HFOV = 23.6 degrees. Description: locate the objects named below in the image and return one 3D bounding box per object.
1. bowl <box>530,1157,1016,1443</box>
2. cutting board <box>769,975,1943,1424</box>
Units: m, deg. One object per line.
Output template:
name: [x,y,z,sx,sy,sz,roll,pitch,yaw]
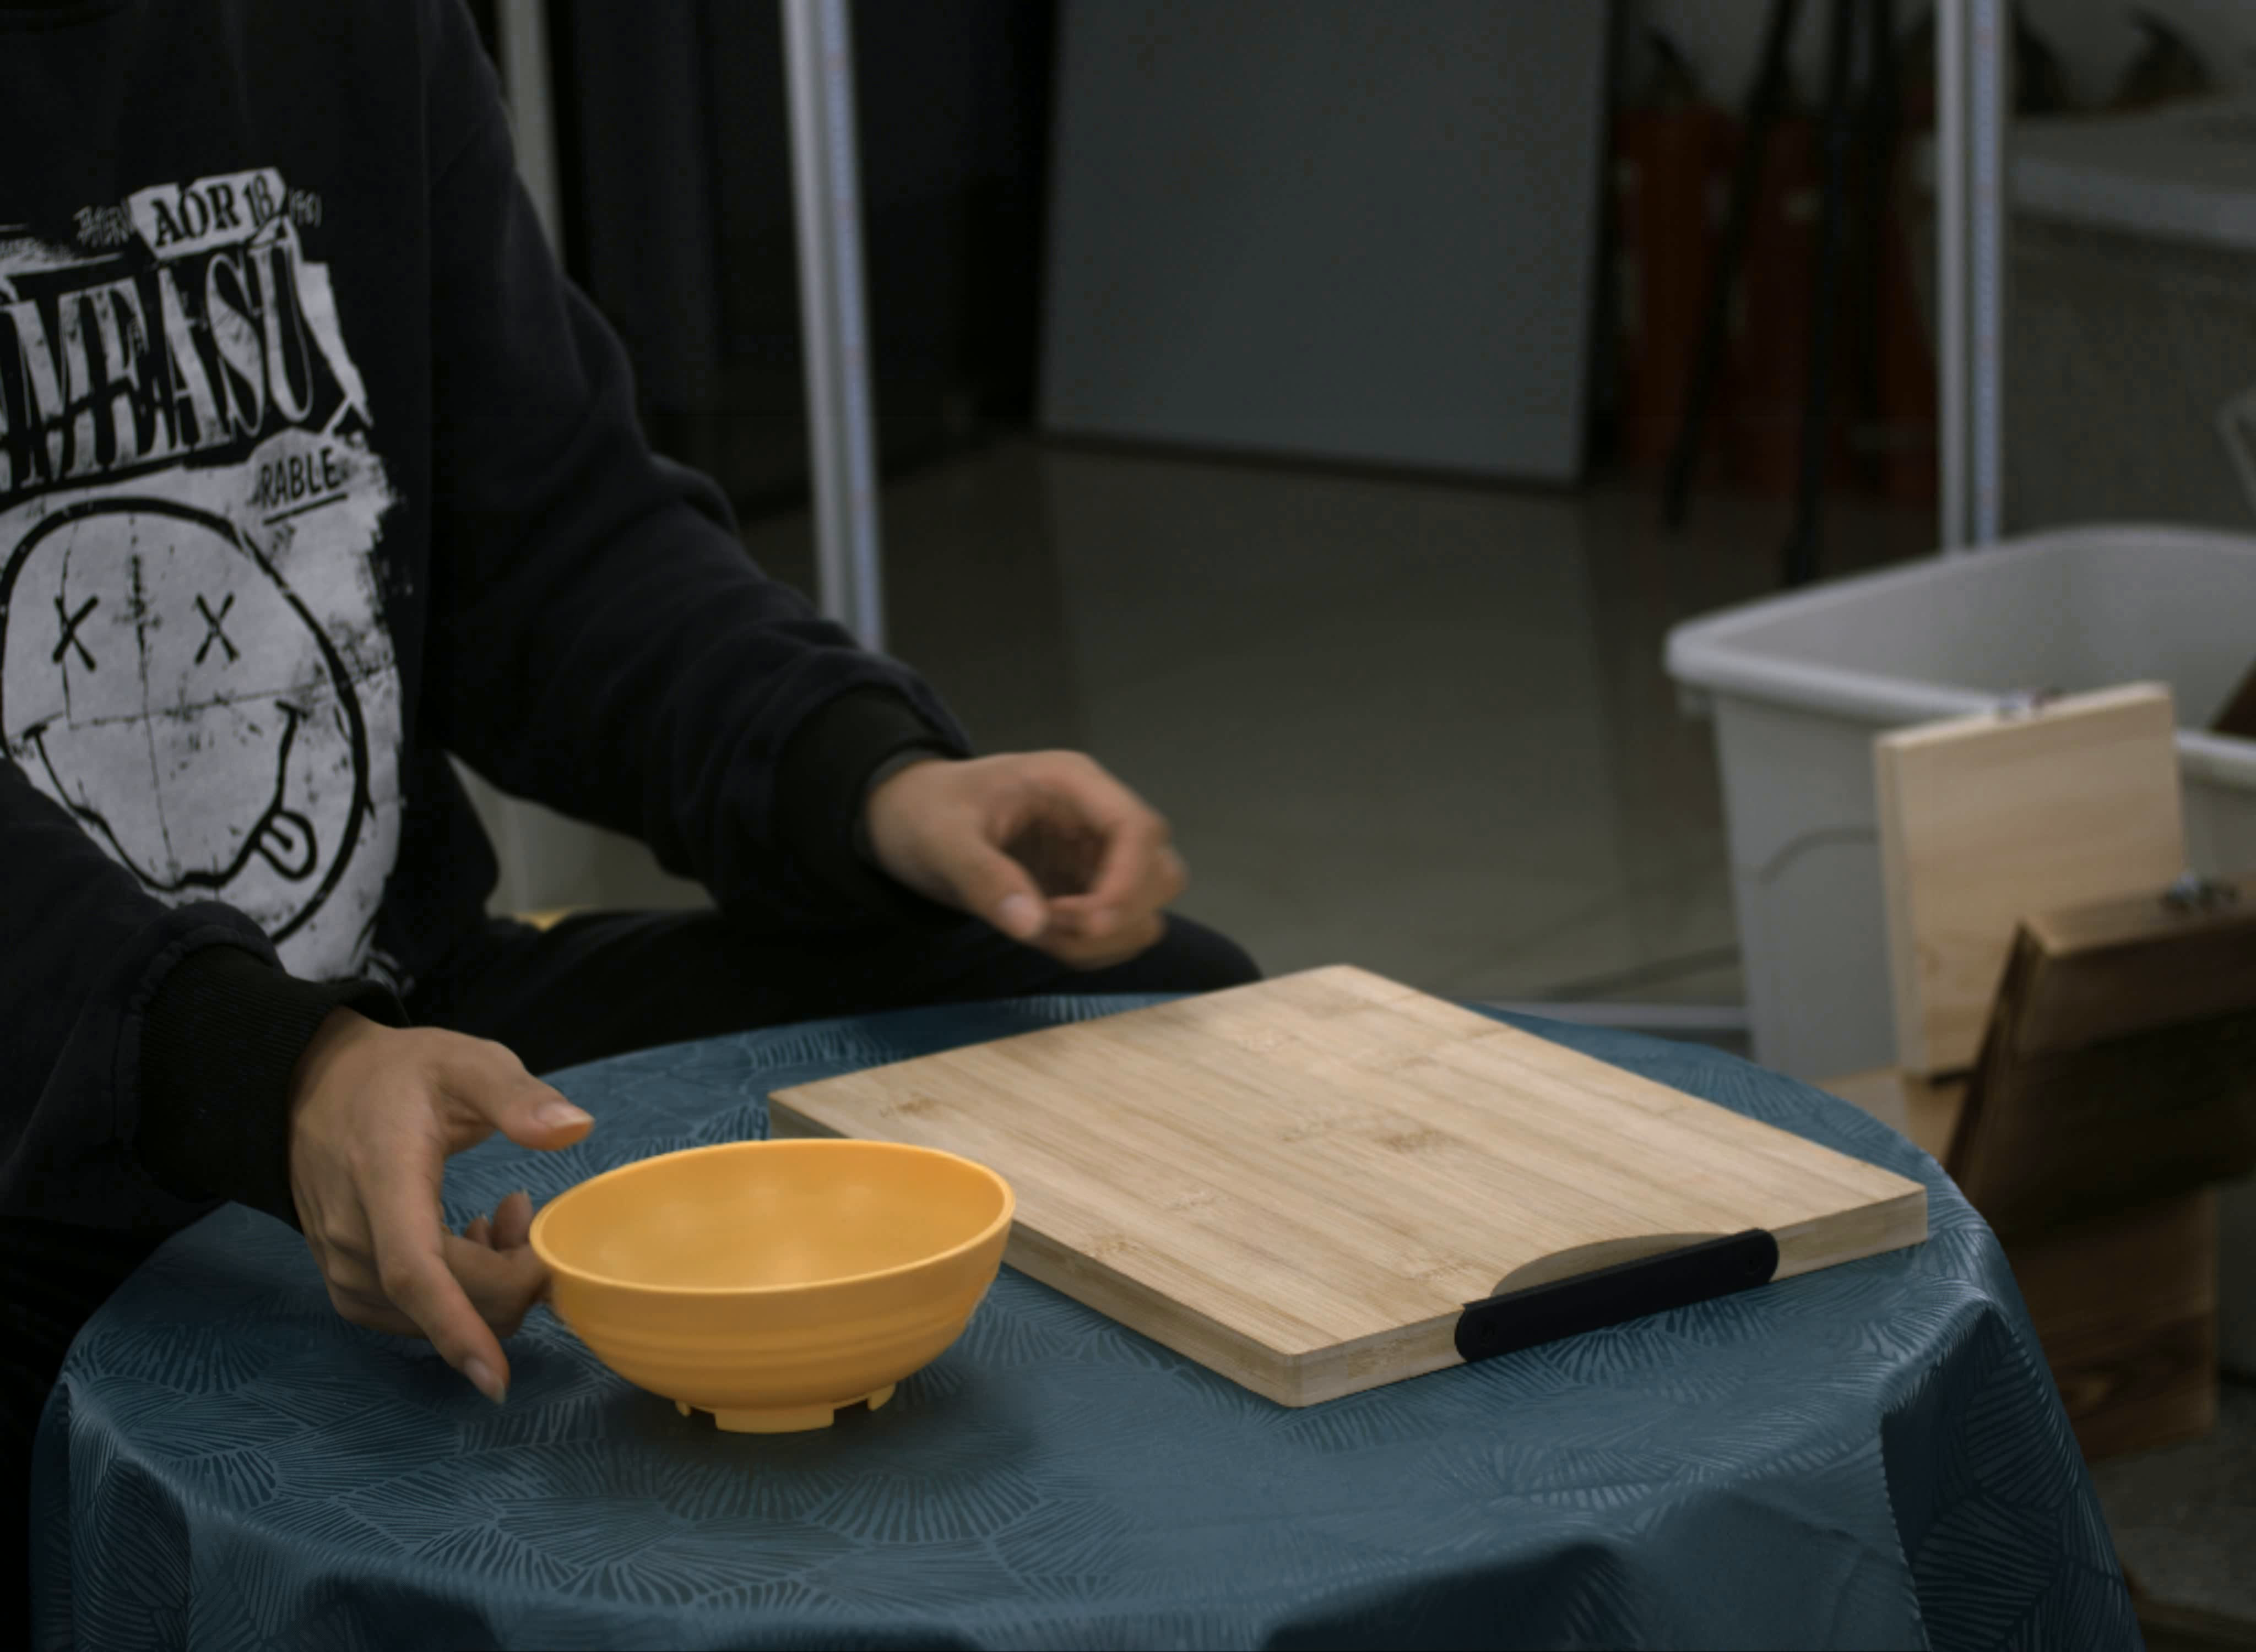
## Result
bowl: [-0.104,0.144,1.594,0.143,0.061,0.145,-2,11,-1]
cutting board: [0.065,0.113,1.752,0.245,0.024,0.352,-12,16,-29]
